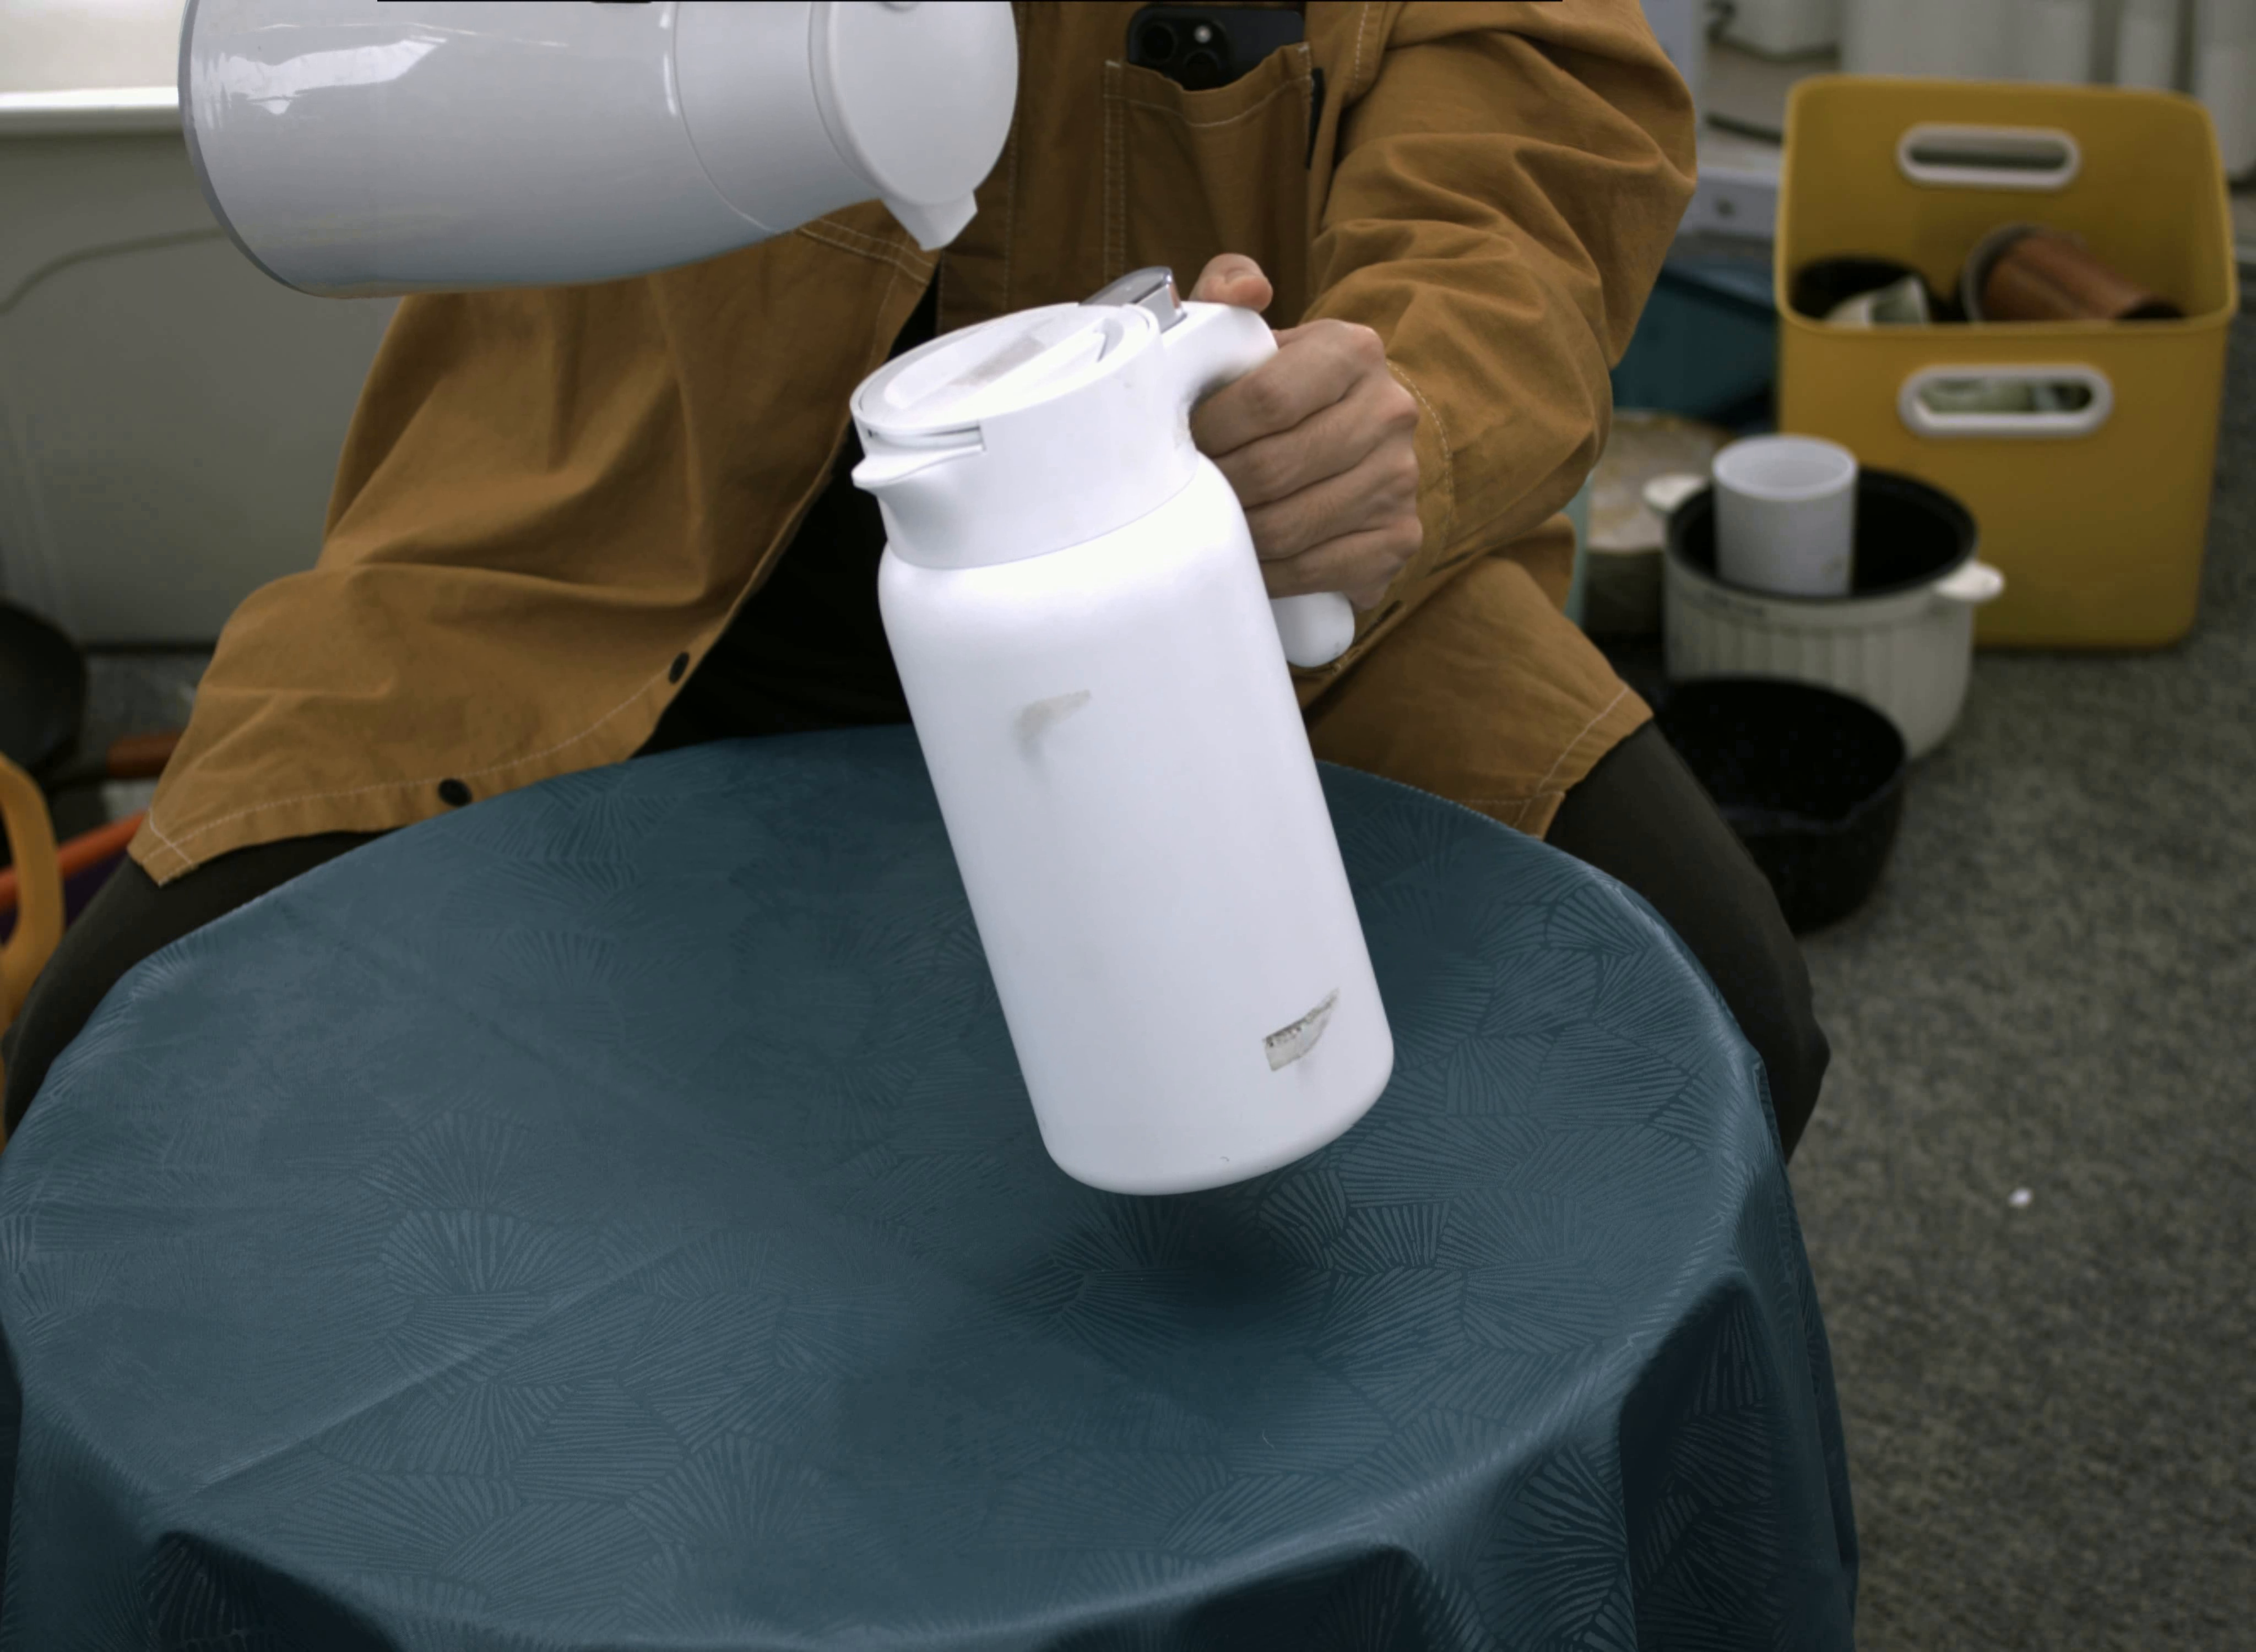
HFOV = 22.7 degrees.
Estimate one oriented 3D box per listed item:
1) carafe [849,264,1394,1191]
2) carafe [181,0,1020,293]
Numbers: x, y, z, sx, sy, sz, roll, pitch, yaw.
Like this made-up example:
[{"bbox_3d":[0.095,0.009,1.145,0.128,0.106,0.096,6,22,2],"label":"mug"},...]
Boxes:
[{"bbox_3d":[0.006,-0.034,1.770,0.123,0.267,0.175,1,26,44],"label":"carafe"},{"bbox_3d":[-0.161,-0.248,1.715,0.246,0.166,0.135,0,38,34],"label":"carafe"}]
